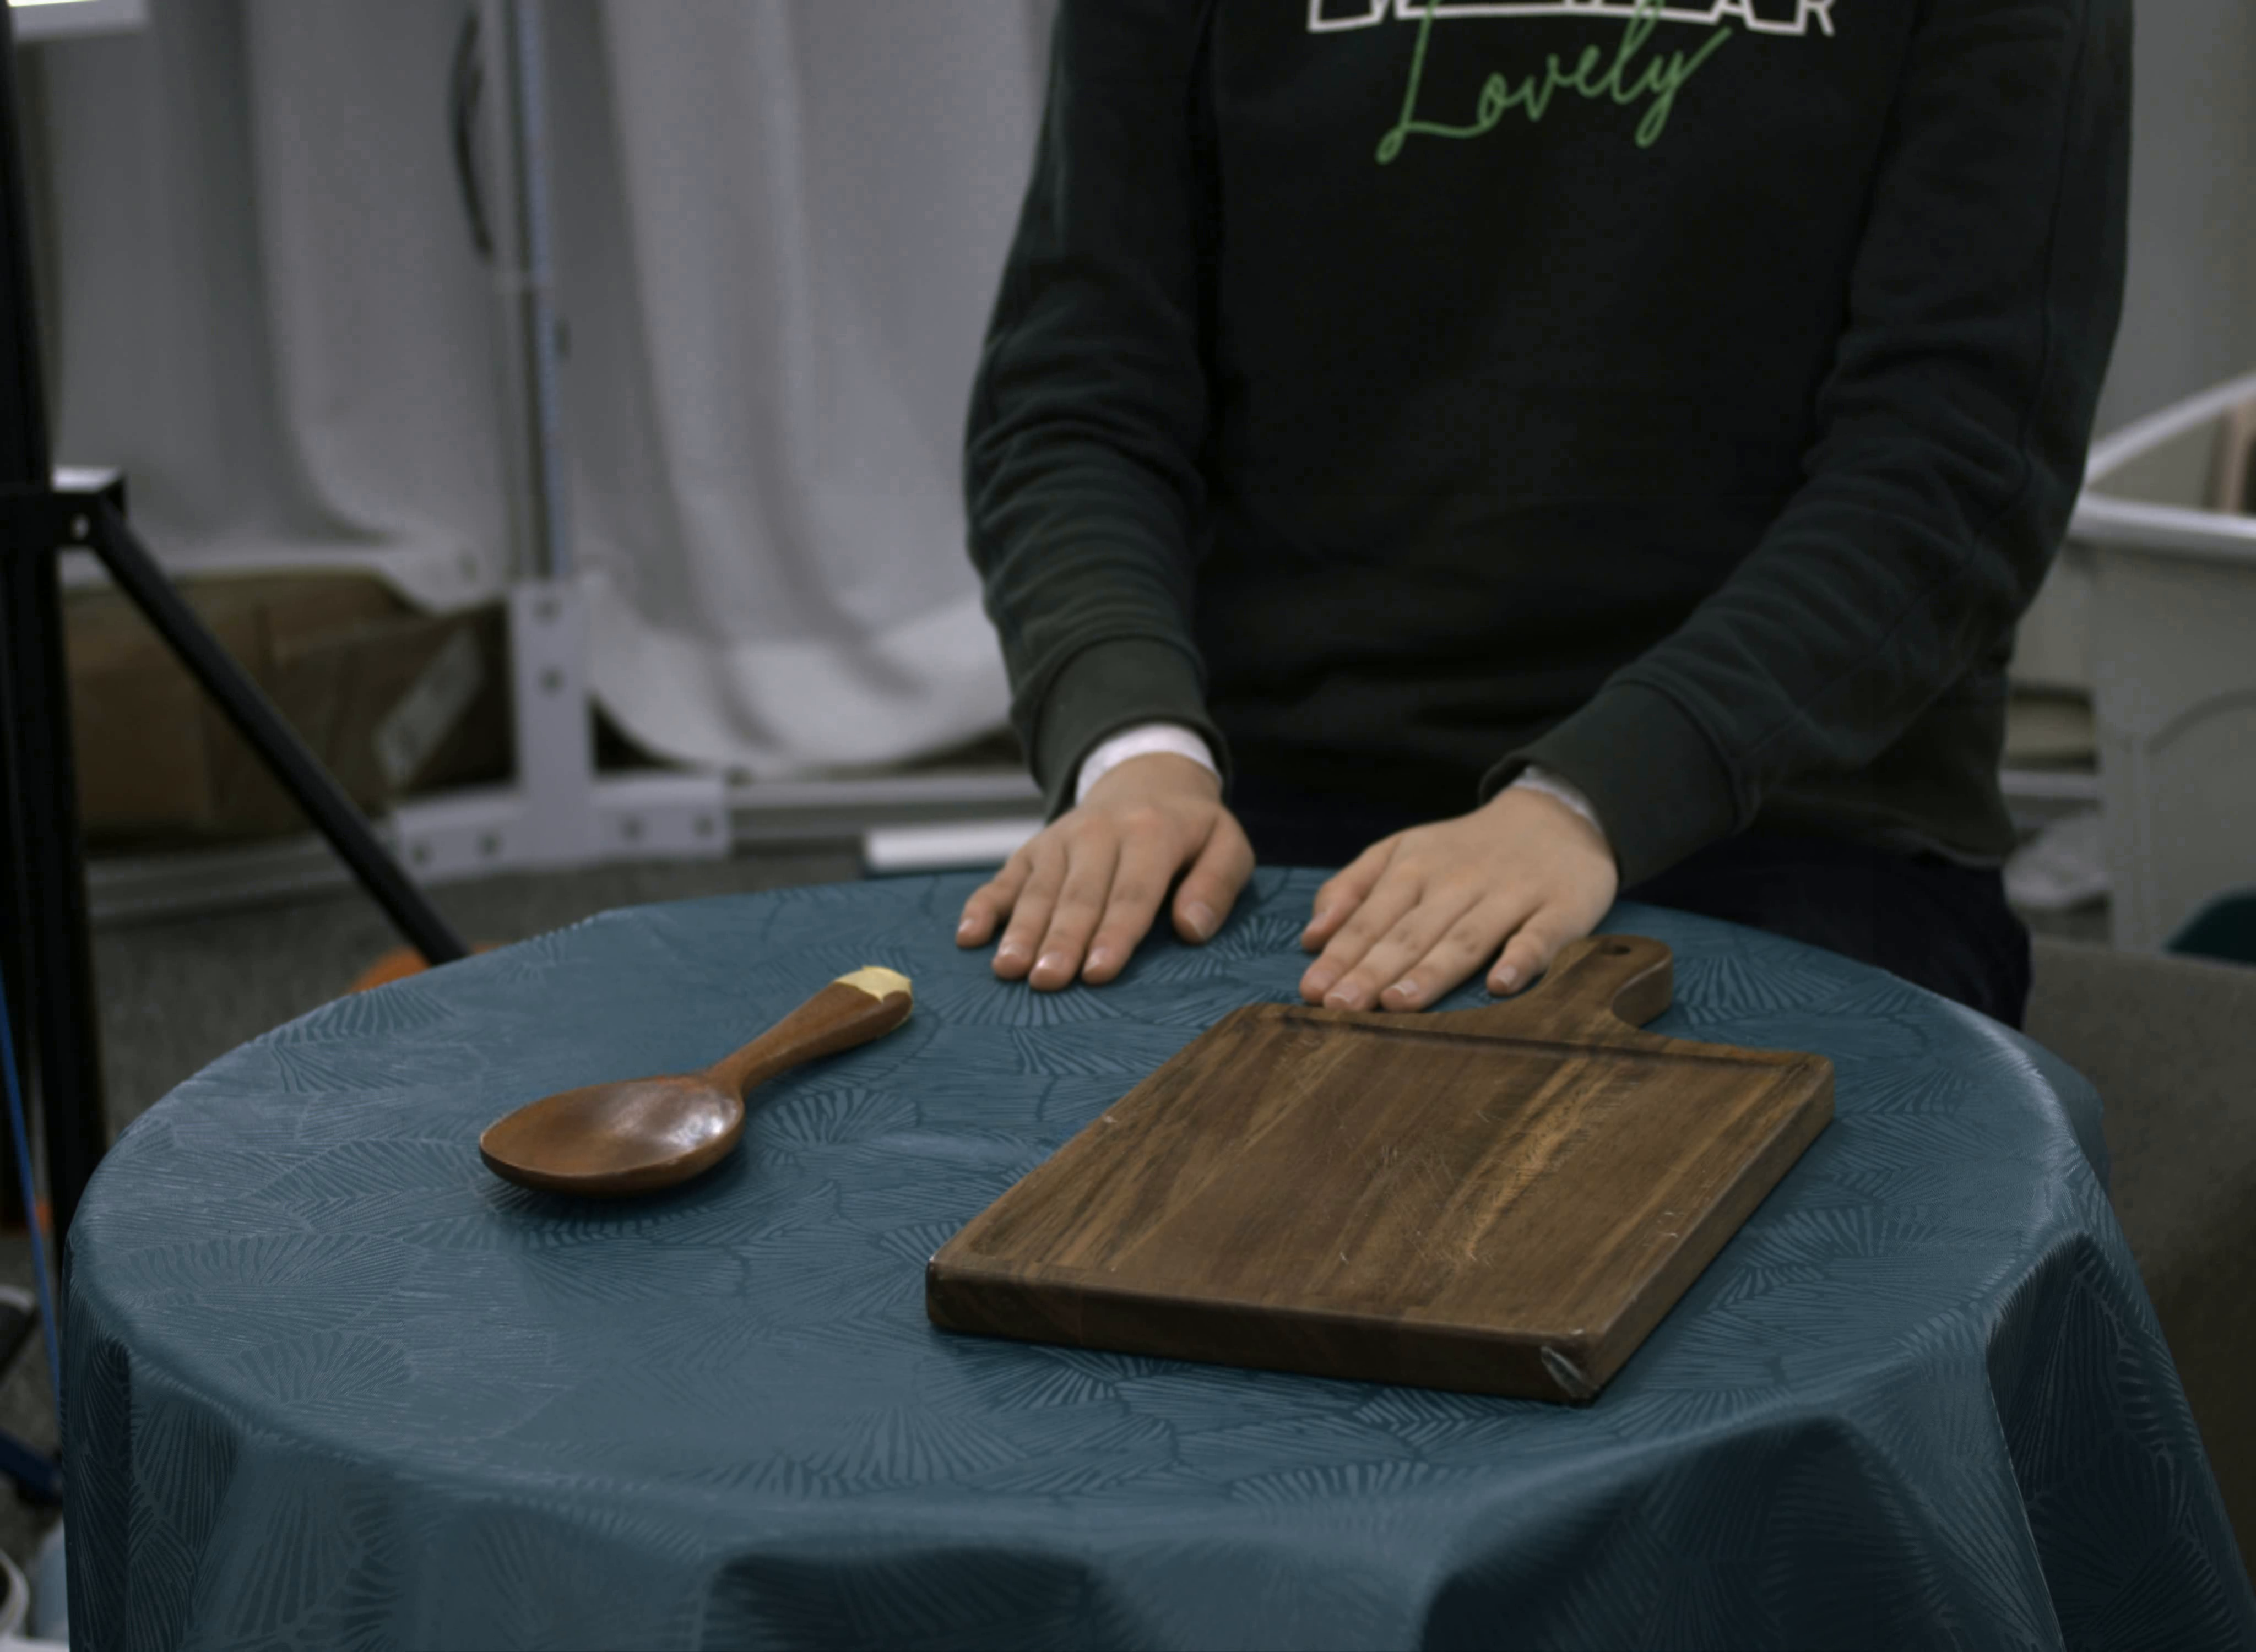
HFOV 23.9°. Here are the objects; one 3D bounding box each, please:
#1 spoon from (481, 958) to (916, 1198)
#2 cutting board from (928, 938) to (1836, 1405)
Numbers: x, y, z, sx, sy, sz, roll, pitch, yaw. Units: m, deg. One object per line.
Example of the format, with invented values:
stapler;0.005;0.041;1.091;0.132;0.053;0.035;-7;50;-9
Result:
spoon;-0.123;0.079;1.648;0.077;0.017;0.212;4;18;28
cutting board;0.098;0.092;1.566;0.204;0.023;0.347;3;17;23
